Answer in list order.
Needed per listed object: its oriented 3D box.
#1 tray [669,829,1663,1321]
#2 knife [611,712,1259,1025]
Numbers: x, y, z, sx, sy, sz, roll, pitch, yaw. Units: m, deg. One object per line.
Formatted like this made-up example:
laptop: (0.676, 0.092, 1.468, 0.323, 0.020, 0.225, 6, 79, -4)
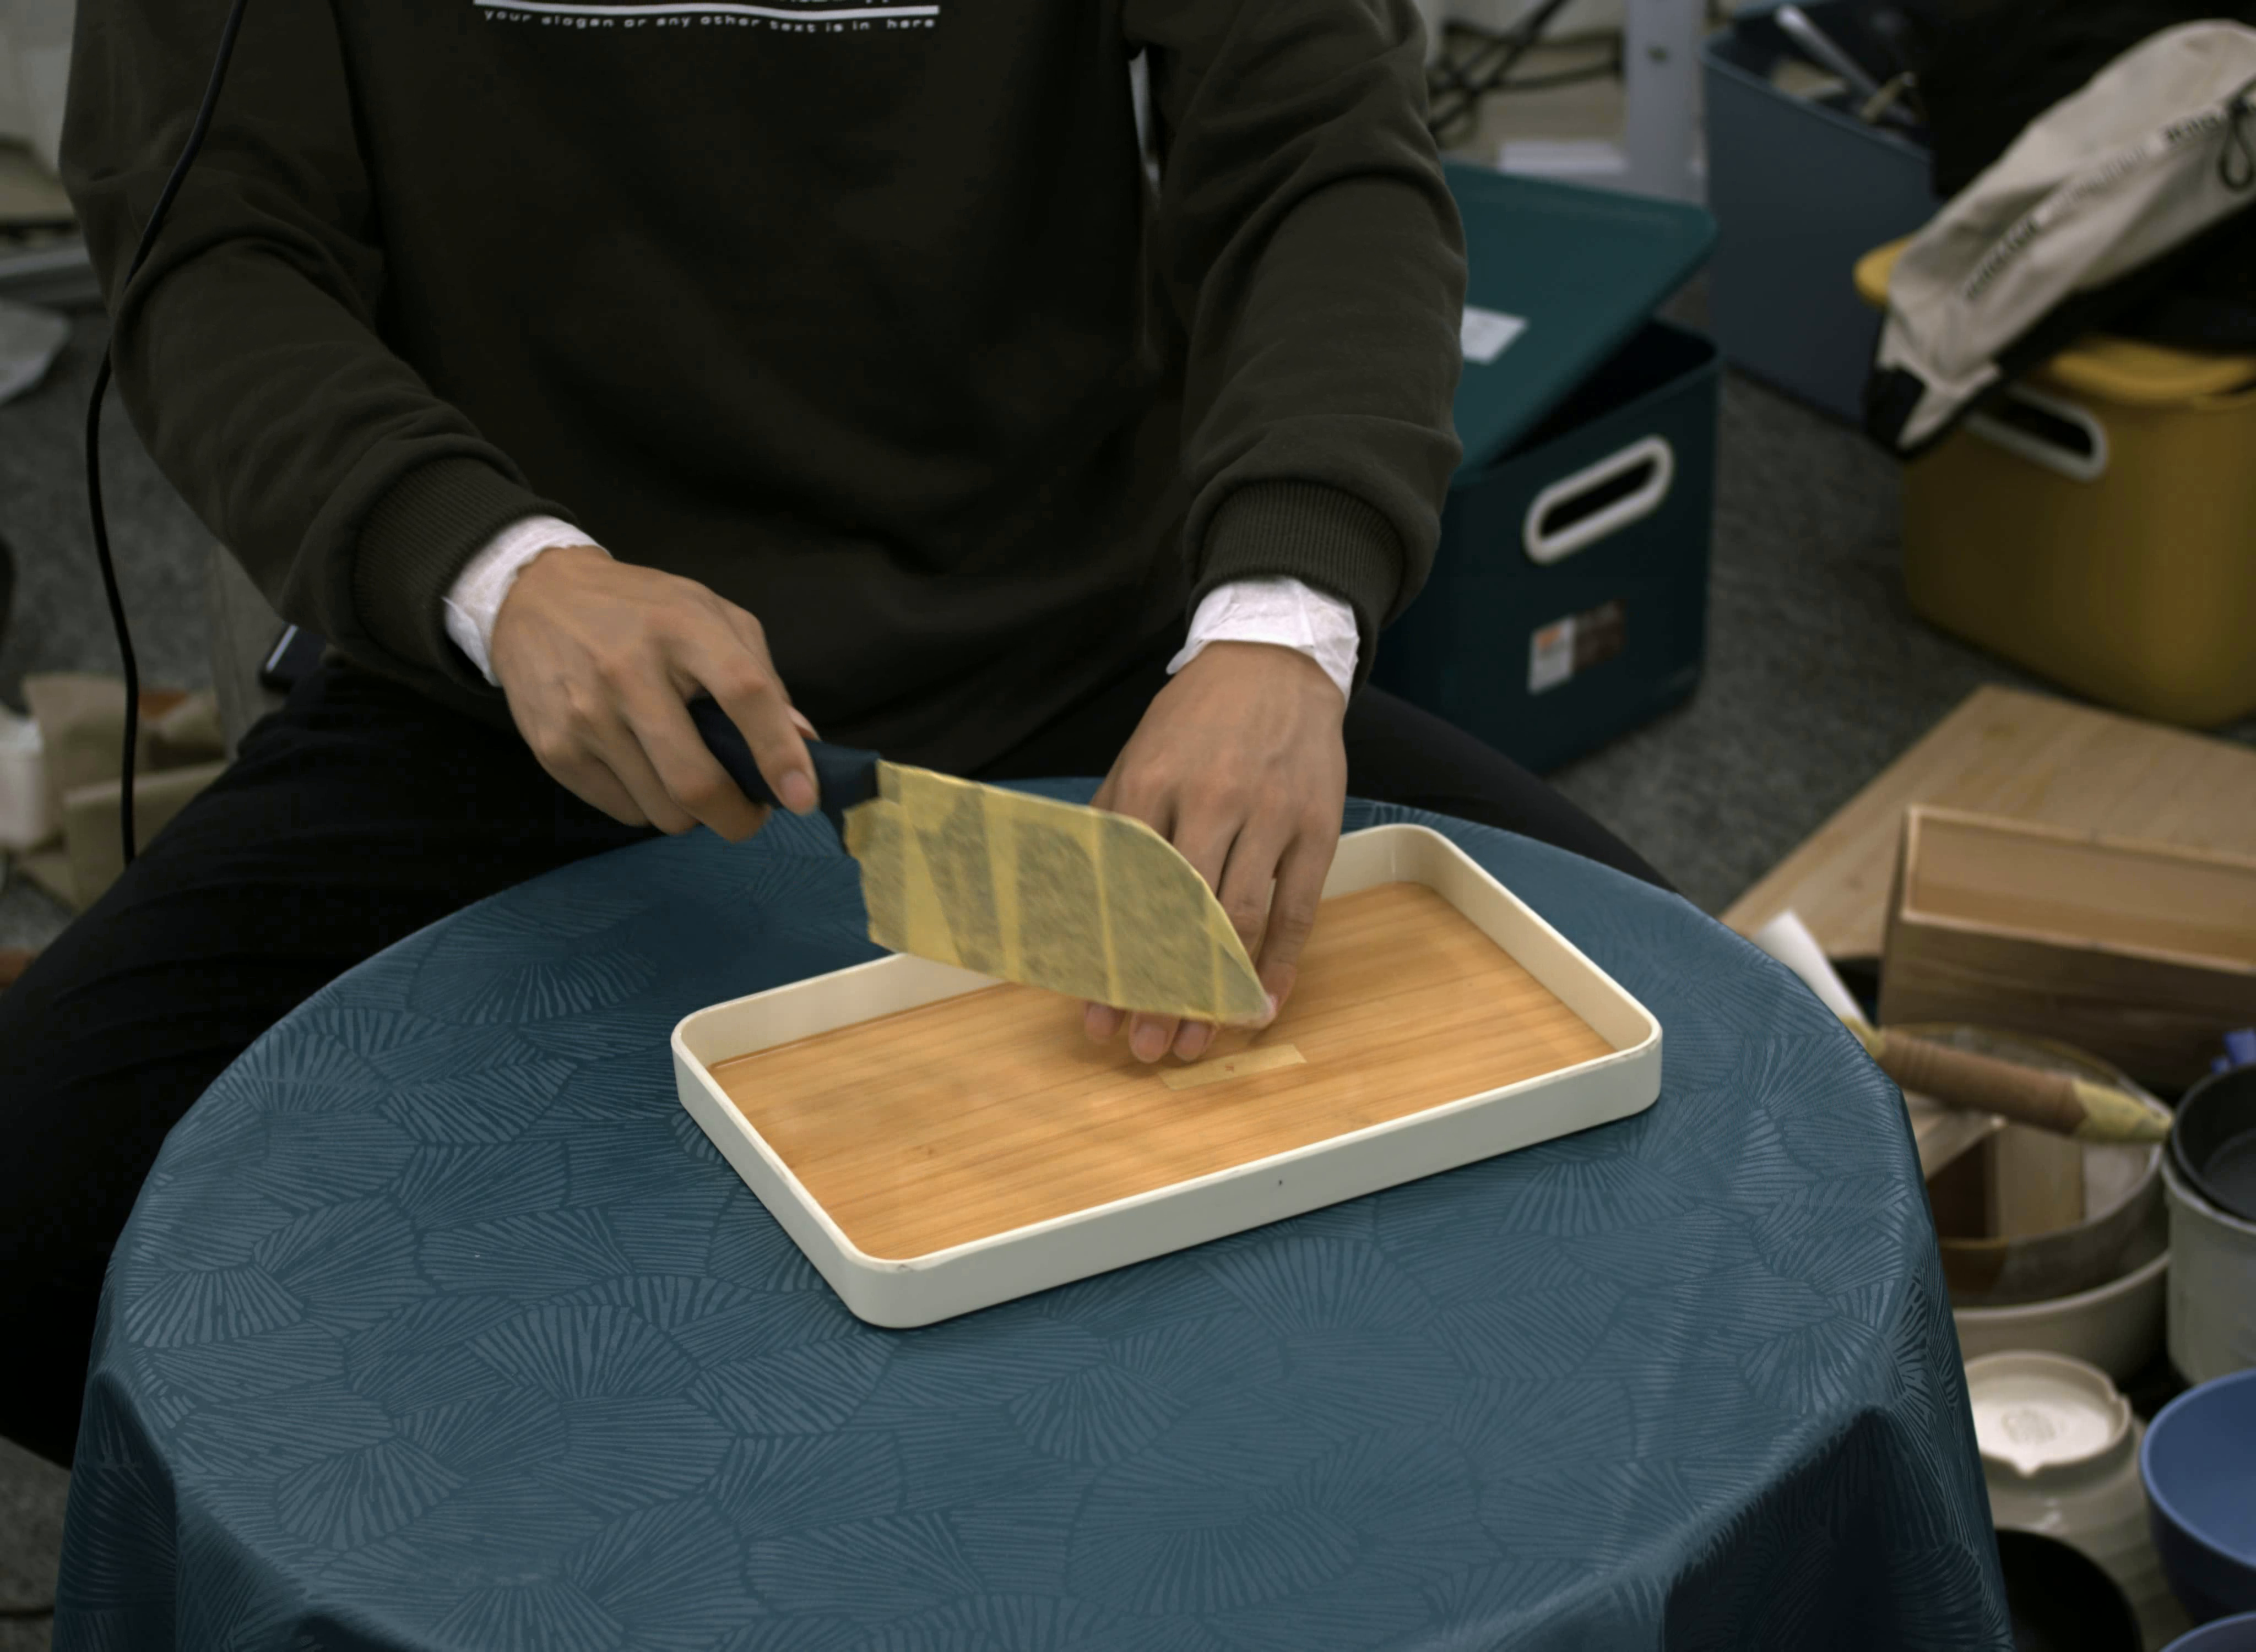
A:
tray: (0.012, 0.080, 1.911, 0.301, 0.027, 0.192, -14, 28, -22)
knife: (-0.068, 0.013, 1.904, 0.288, 0.080, 0.027, 18, 31, 37)
